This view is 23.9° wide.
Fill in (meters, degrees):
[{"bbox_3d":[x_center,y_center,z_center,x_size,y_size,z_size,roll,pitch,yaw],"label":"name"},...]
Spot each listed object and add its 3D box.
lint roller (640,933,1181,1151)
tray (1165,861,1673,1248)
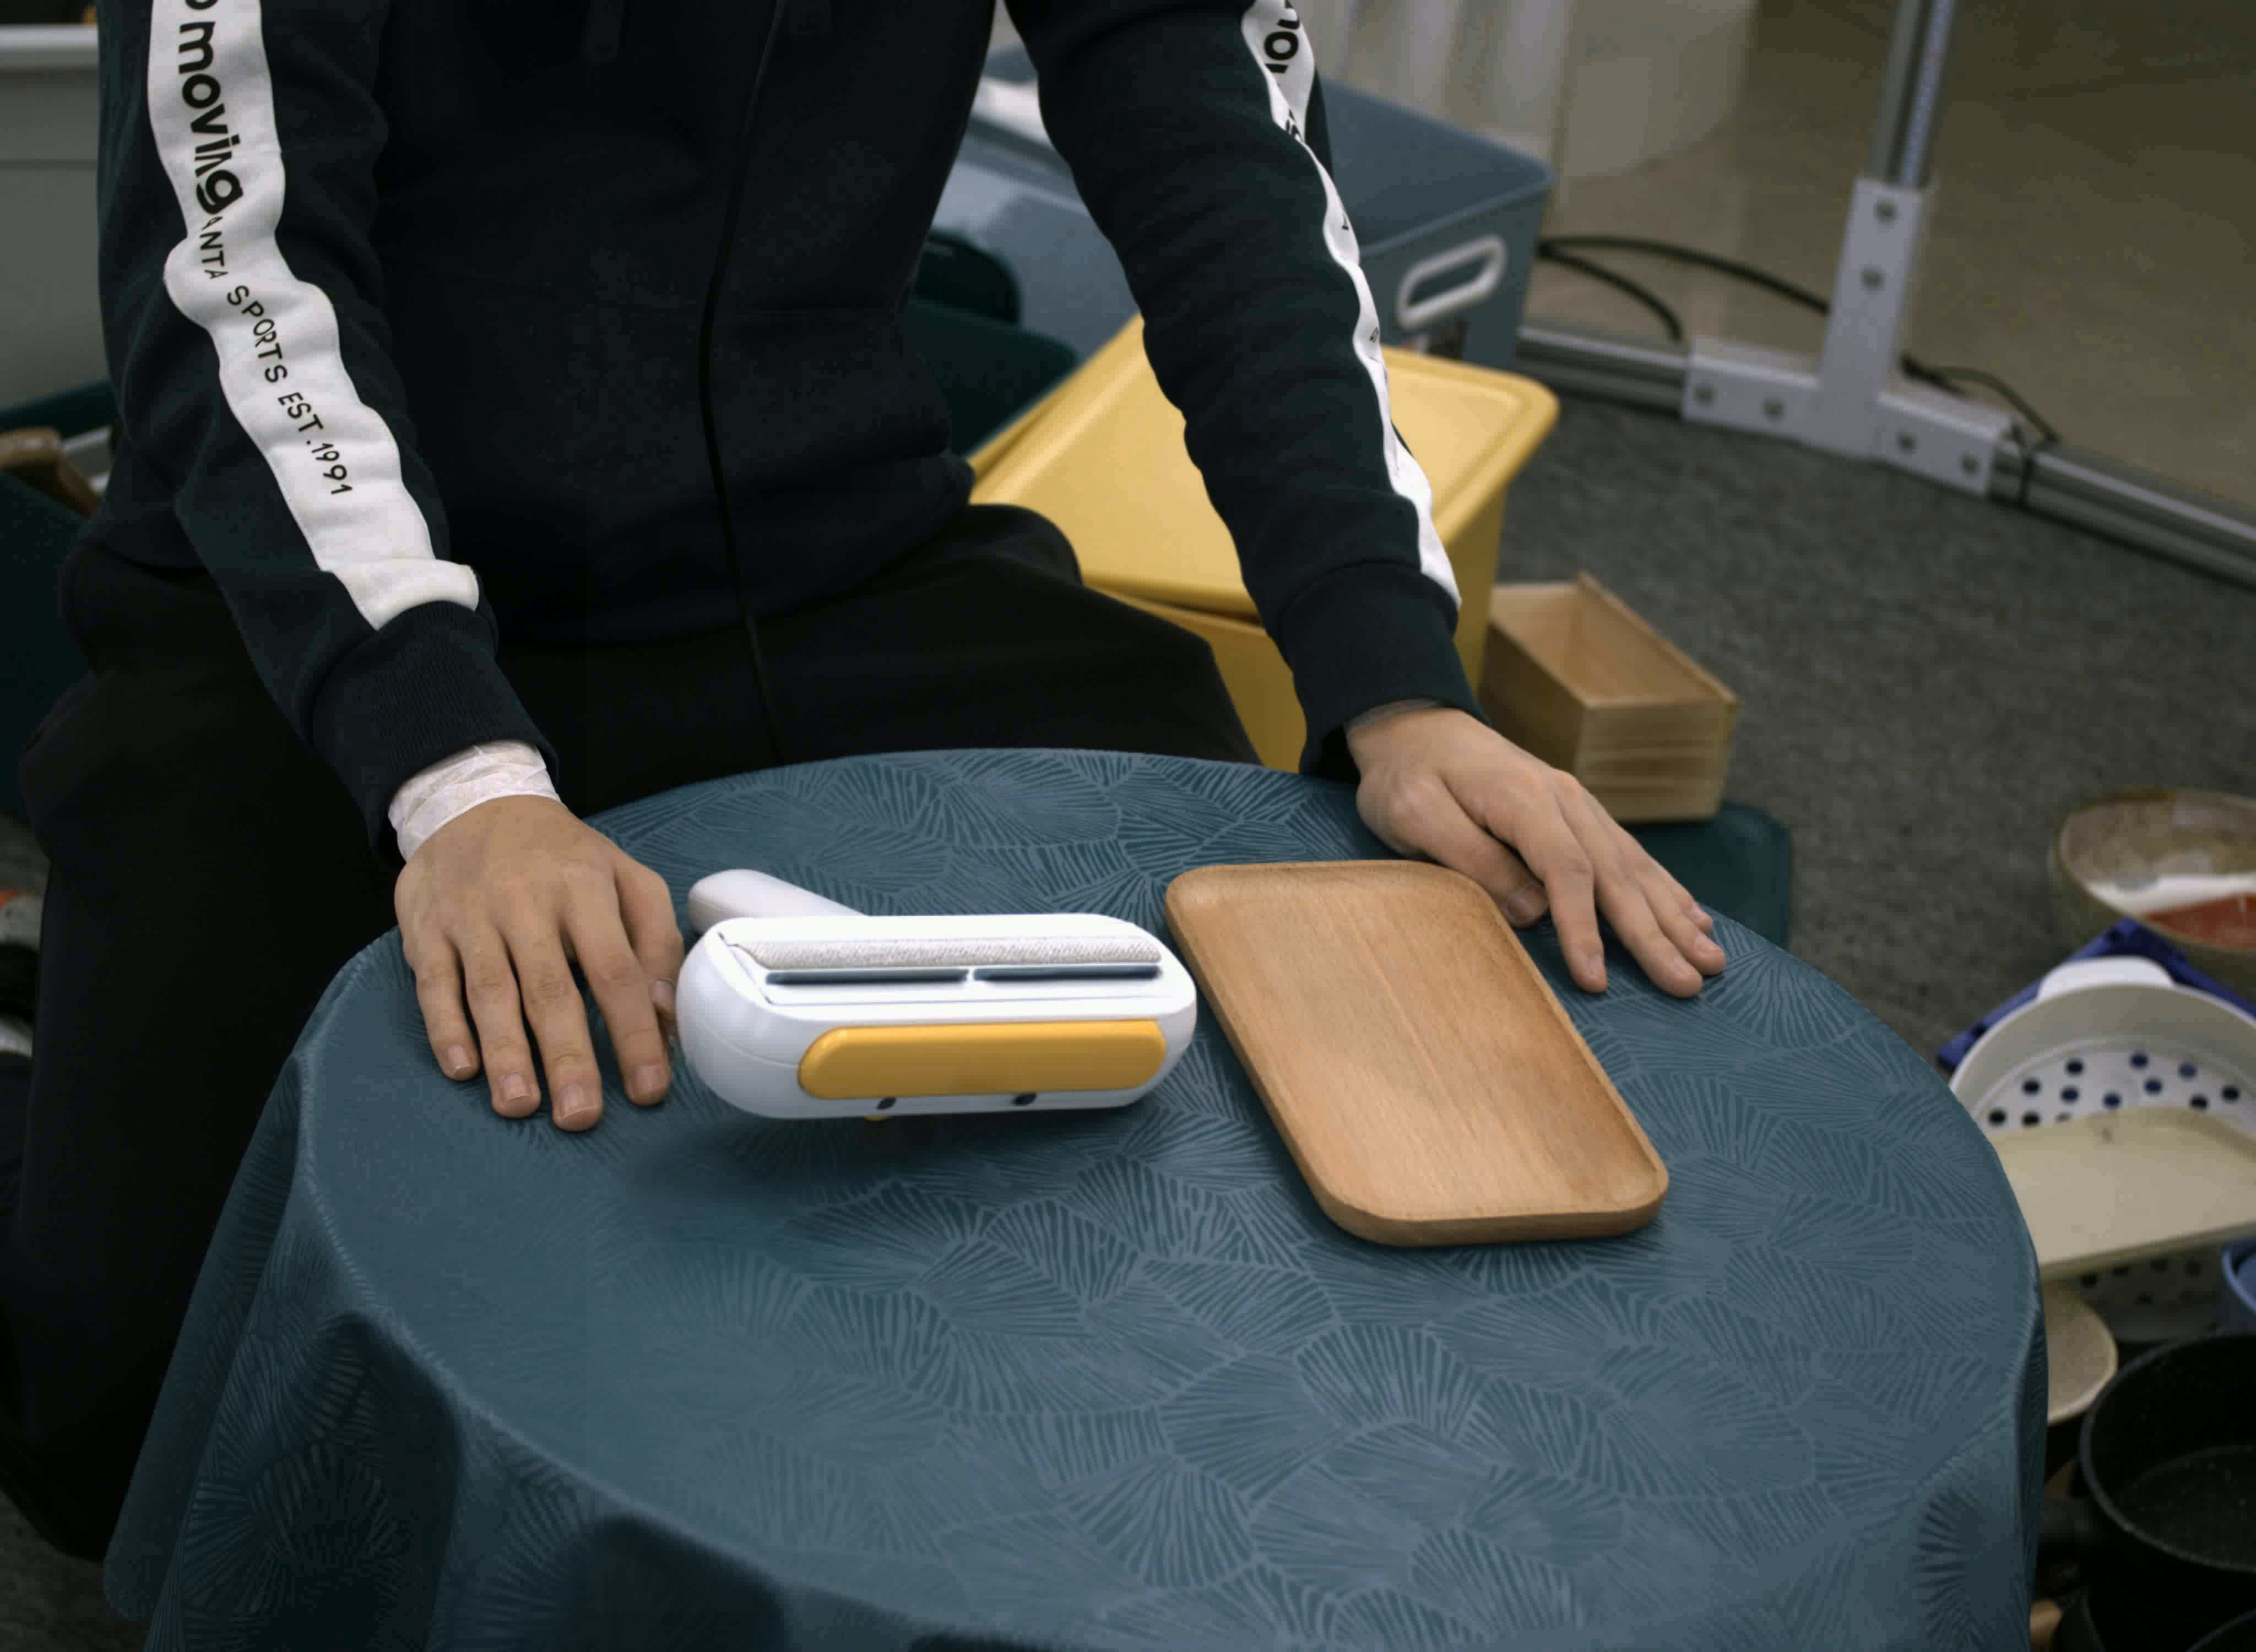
[{"bbox_3d":[-0.100,0.064,1.860,0.191,0.074,0.194,0,12,-28],"label":"lint roller"},{"bbox_3d":[0.099,0.078,1.892,0.130,0.023,0.253,1,27,-16],"label":"tray"}]
